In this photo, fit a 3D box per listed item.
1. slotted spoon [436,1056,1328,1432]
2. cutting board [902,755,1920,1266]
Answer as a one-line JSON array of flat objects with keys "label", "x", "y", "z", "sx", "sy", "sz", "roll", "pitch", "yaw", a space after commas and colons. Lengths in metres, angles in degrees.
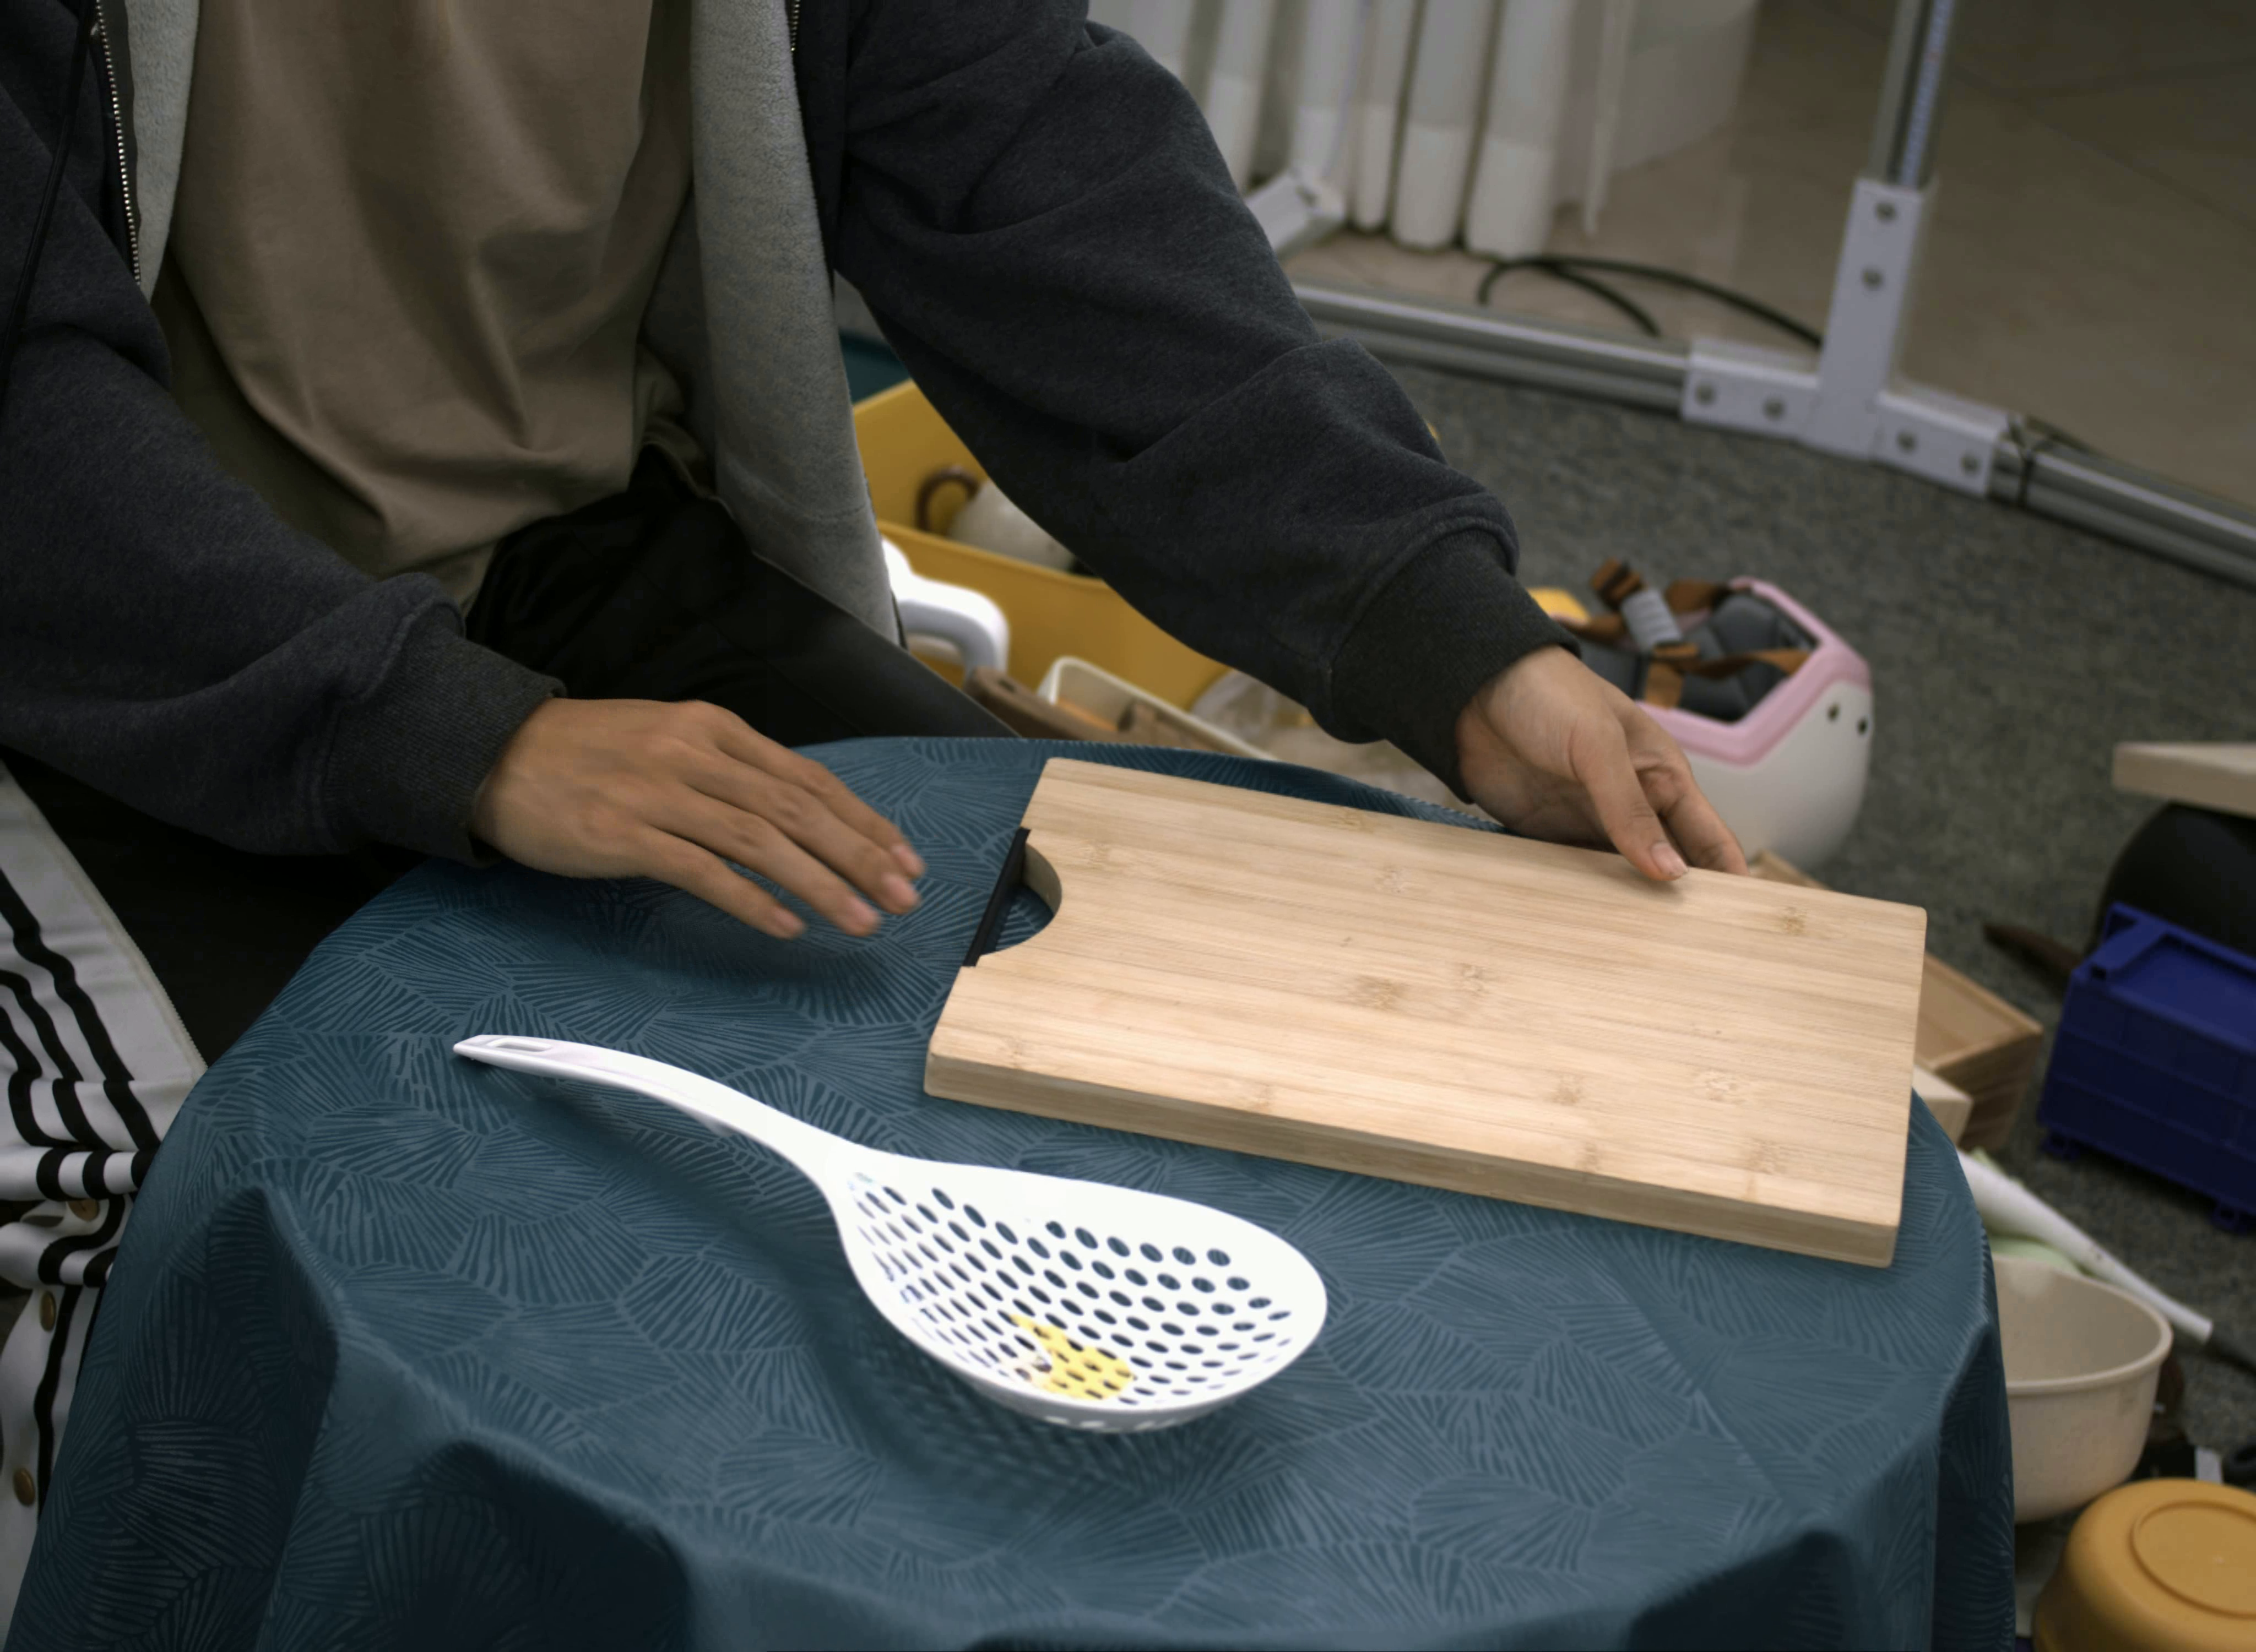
[{"label": "slotted spoon", "x": -0.093, "y": 0.122, "z": 1.737, "sx": 0.350, "sy": 0.050, "sz": 0.136, "roll": 25, "pitch": 34, "yaw": 31}, {"label": "cutting board", "x": 0.110, "y": 0.062, "z": 1.928, "sx": 0.348, "sy": 0.023, "sz": 0.251, "roll": 9, "pitch": 27, "yaw": 6}]
